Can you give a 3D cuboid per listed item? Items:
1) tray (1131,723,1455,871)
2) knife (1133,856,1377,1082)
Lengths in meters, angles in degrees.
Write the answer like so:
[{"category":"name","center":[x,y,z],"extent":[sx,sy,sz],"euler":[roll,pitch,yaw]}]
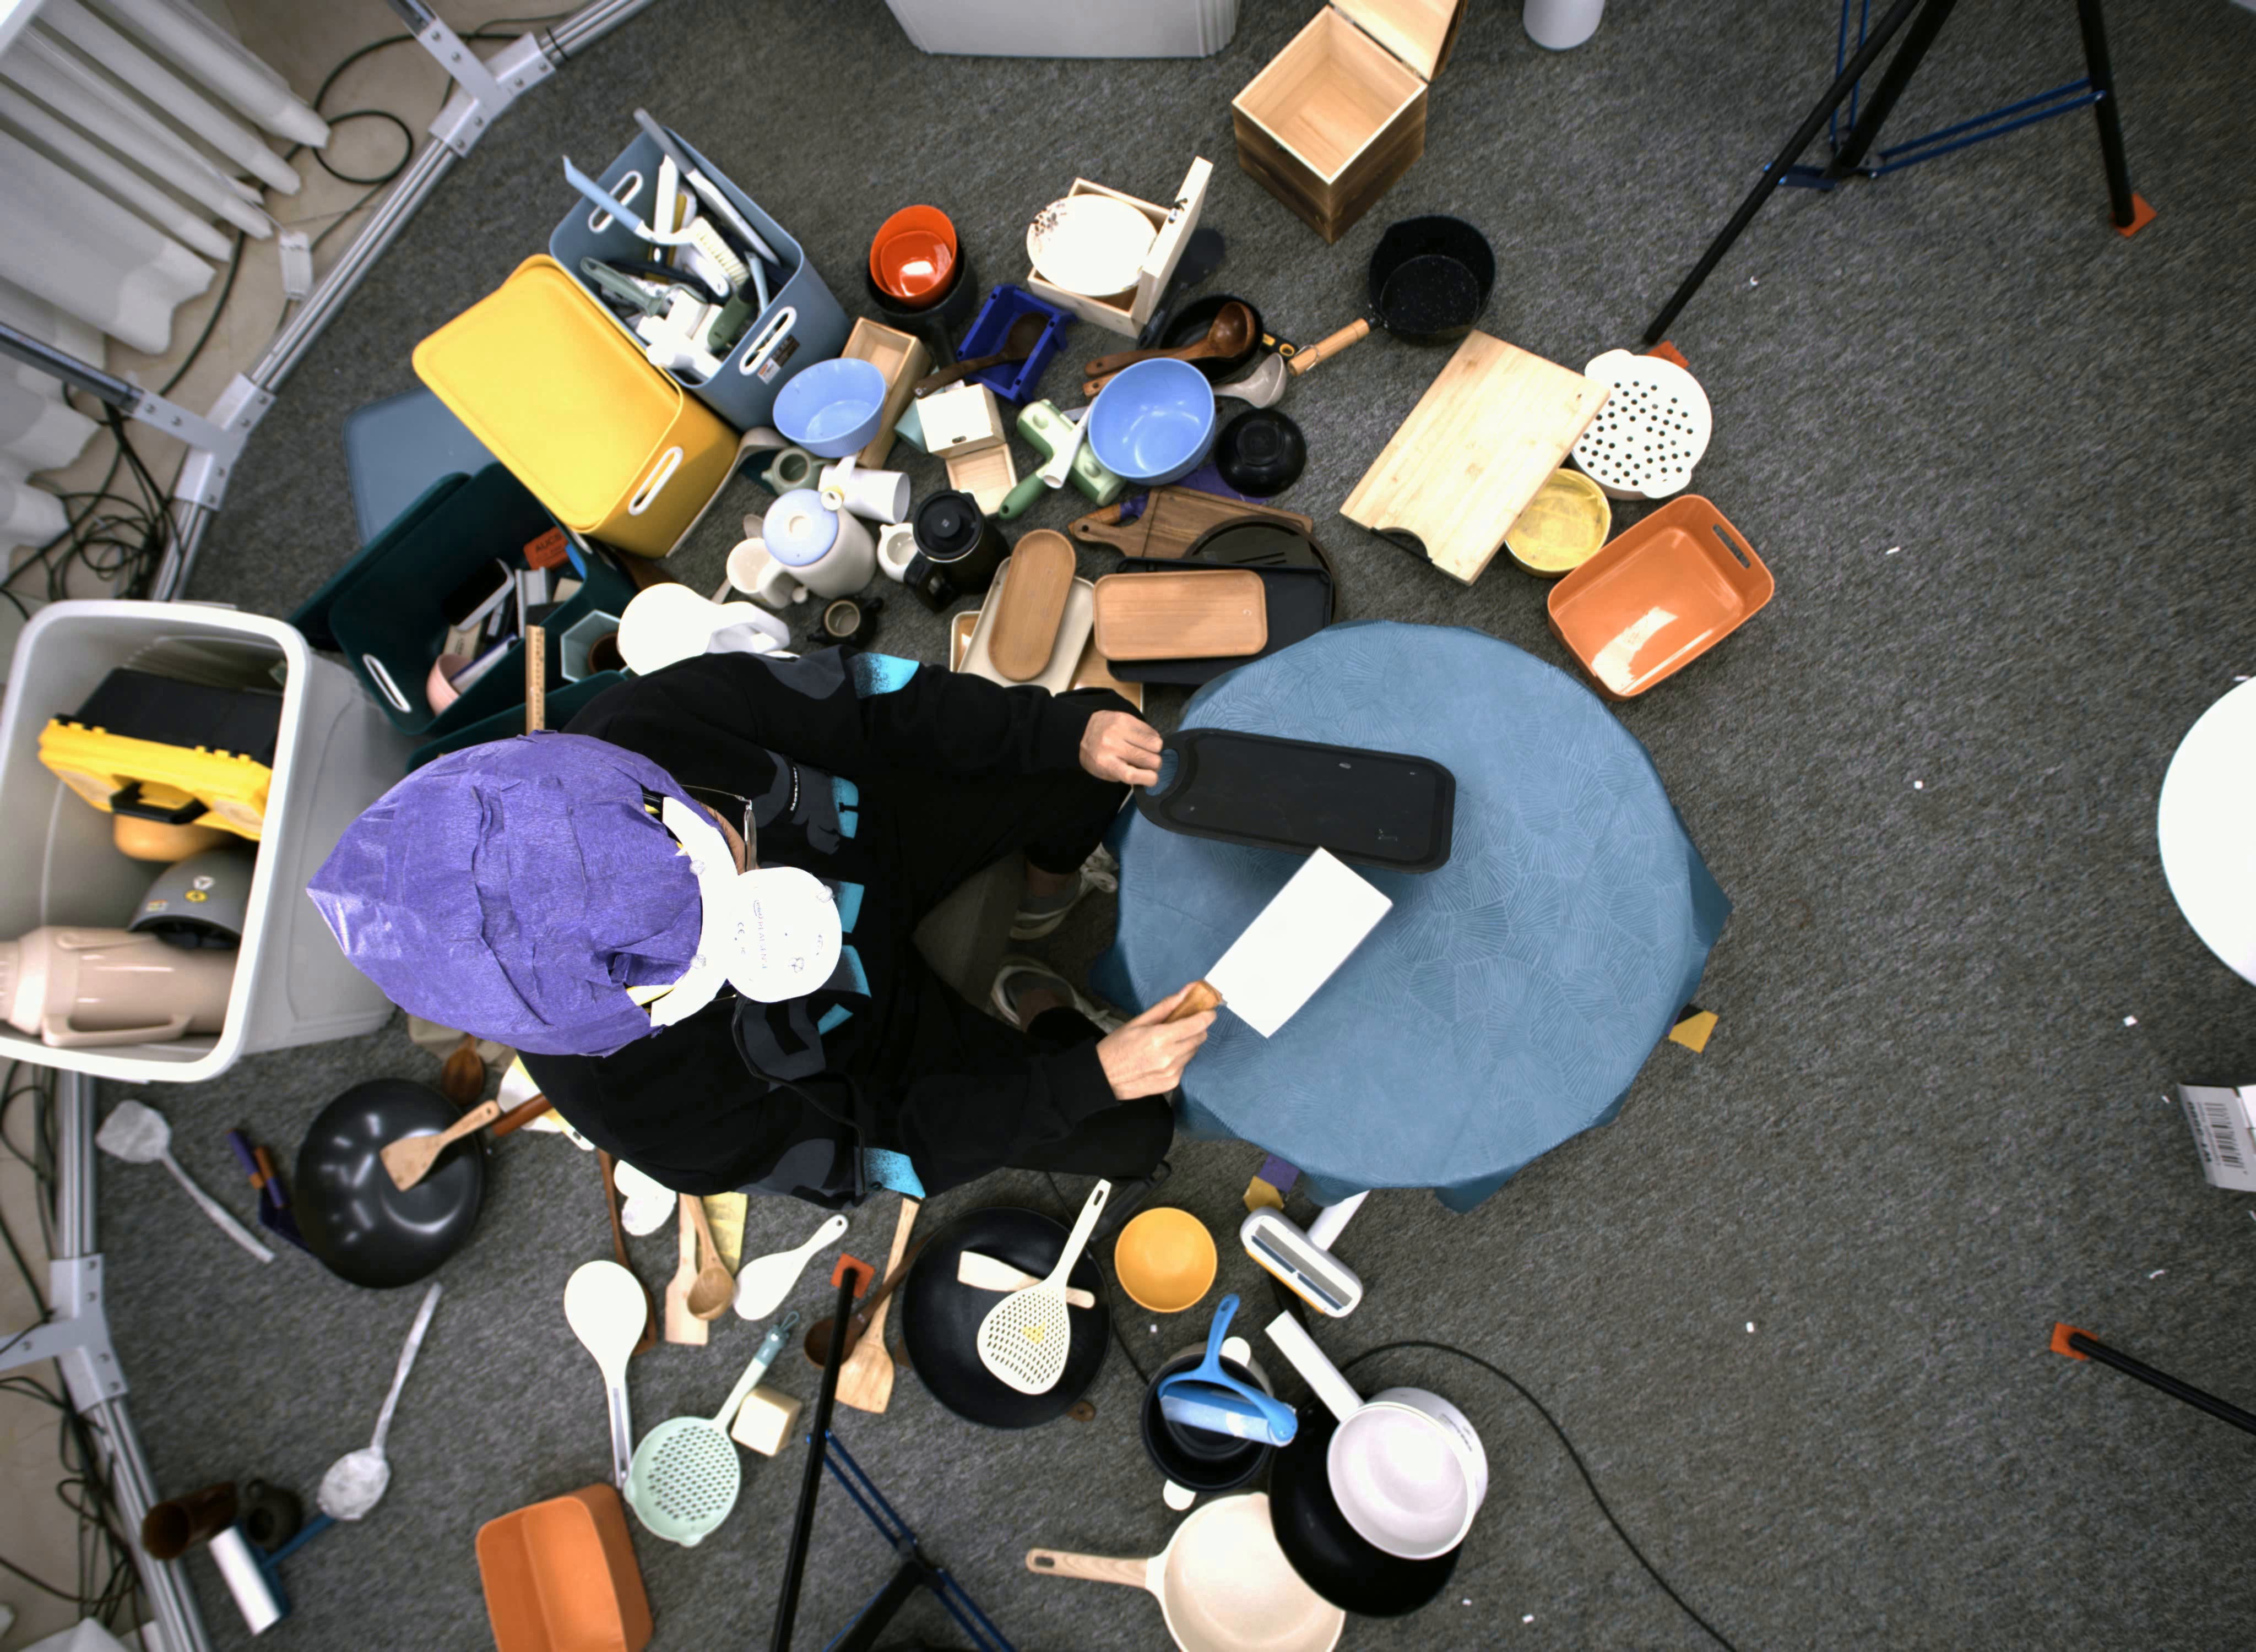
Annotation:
[{"category":"tray","center":[0.165,-0.037,1.400],"extent":[0.326,0.205,0.010],"euler":[10,127,10]},{"category":"knife","center":[0.126,0.158,1.361],"extent":[0.093,0.020,0.311],"euler":[37,113,-8]}]
